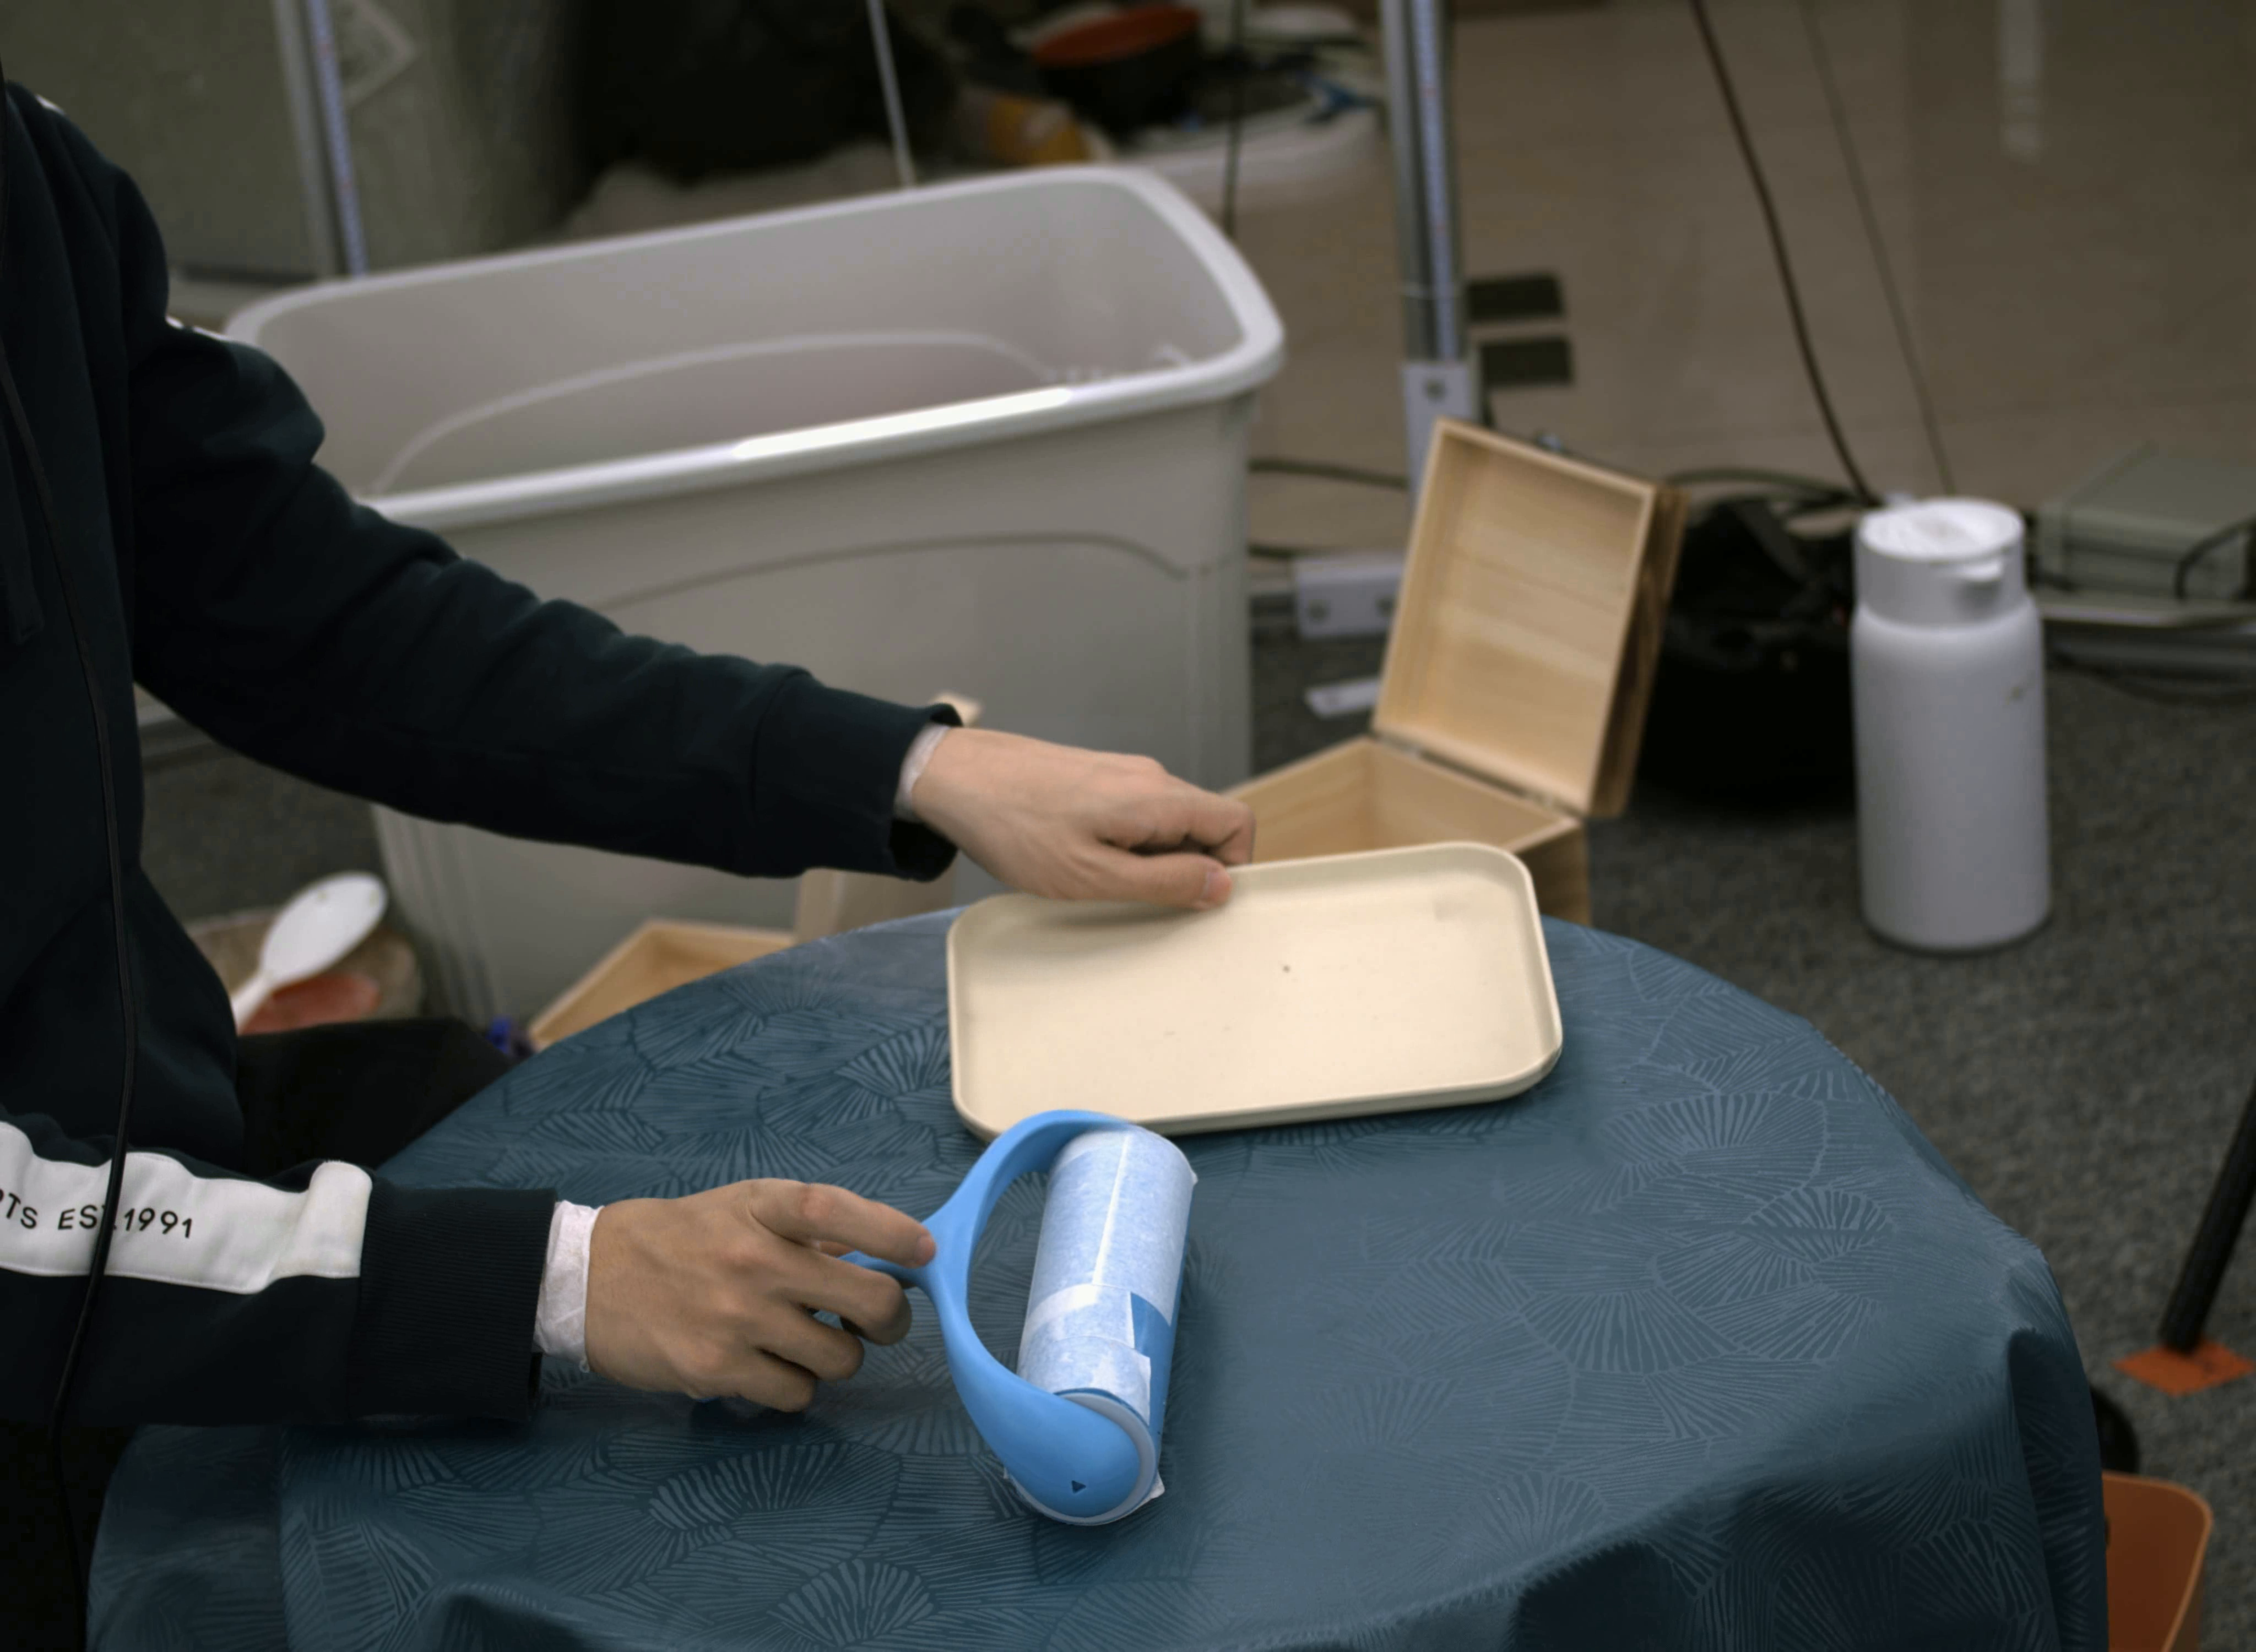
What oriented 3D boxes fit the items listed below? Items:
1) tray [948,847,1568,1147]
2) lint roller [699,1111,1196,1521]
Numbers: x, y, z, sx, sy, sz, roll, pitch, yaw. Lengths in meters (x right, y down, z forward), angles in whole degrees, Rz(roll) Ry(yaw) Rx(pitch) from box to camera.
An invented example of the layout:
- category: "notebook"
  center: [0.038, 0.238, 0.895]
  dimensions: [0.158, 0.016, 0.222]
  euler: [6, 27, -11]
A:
- category: "tray"
  center: [0.049, 0.069, 2.238]
  dimensions: [0.239, 0.018, 0.168]
  euler: [-6, 32, 1]
- category: "lint roller"
  center: [-0.067, 0.176, 2.012]
  dimensions: [0.180, 0.069, 0.225]
  euler: [-4, 27, 3]
